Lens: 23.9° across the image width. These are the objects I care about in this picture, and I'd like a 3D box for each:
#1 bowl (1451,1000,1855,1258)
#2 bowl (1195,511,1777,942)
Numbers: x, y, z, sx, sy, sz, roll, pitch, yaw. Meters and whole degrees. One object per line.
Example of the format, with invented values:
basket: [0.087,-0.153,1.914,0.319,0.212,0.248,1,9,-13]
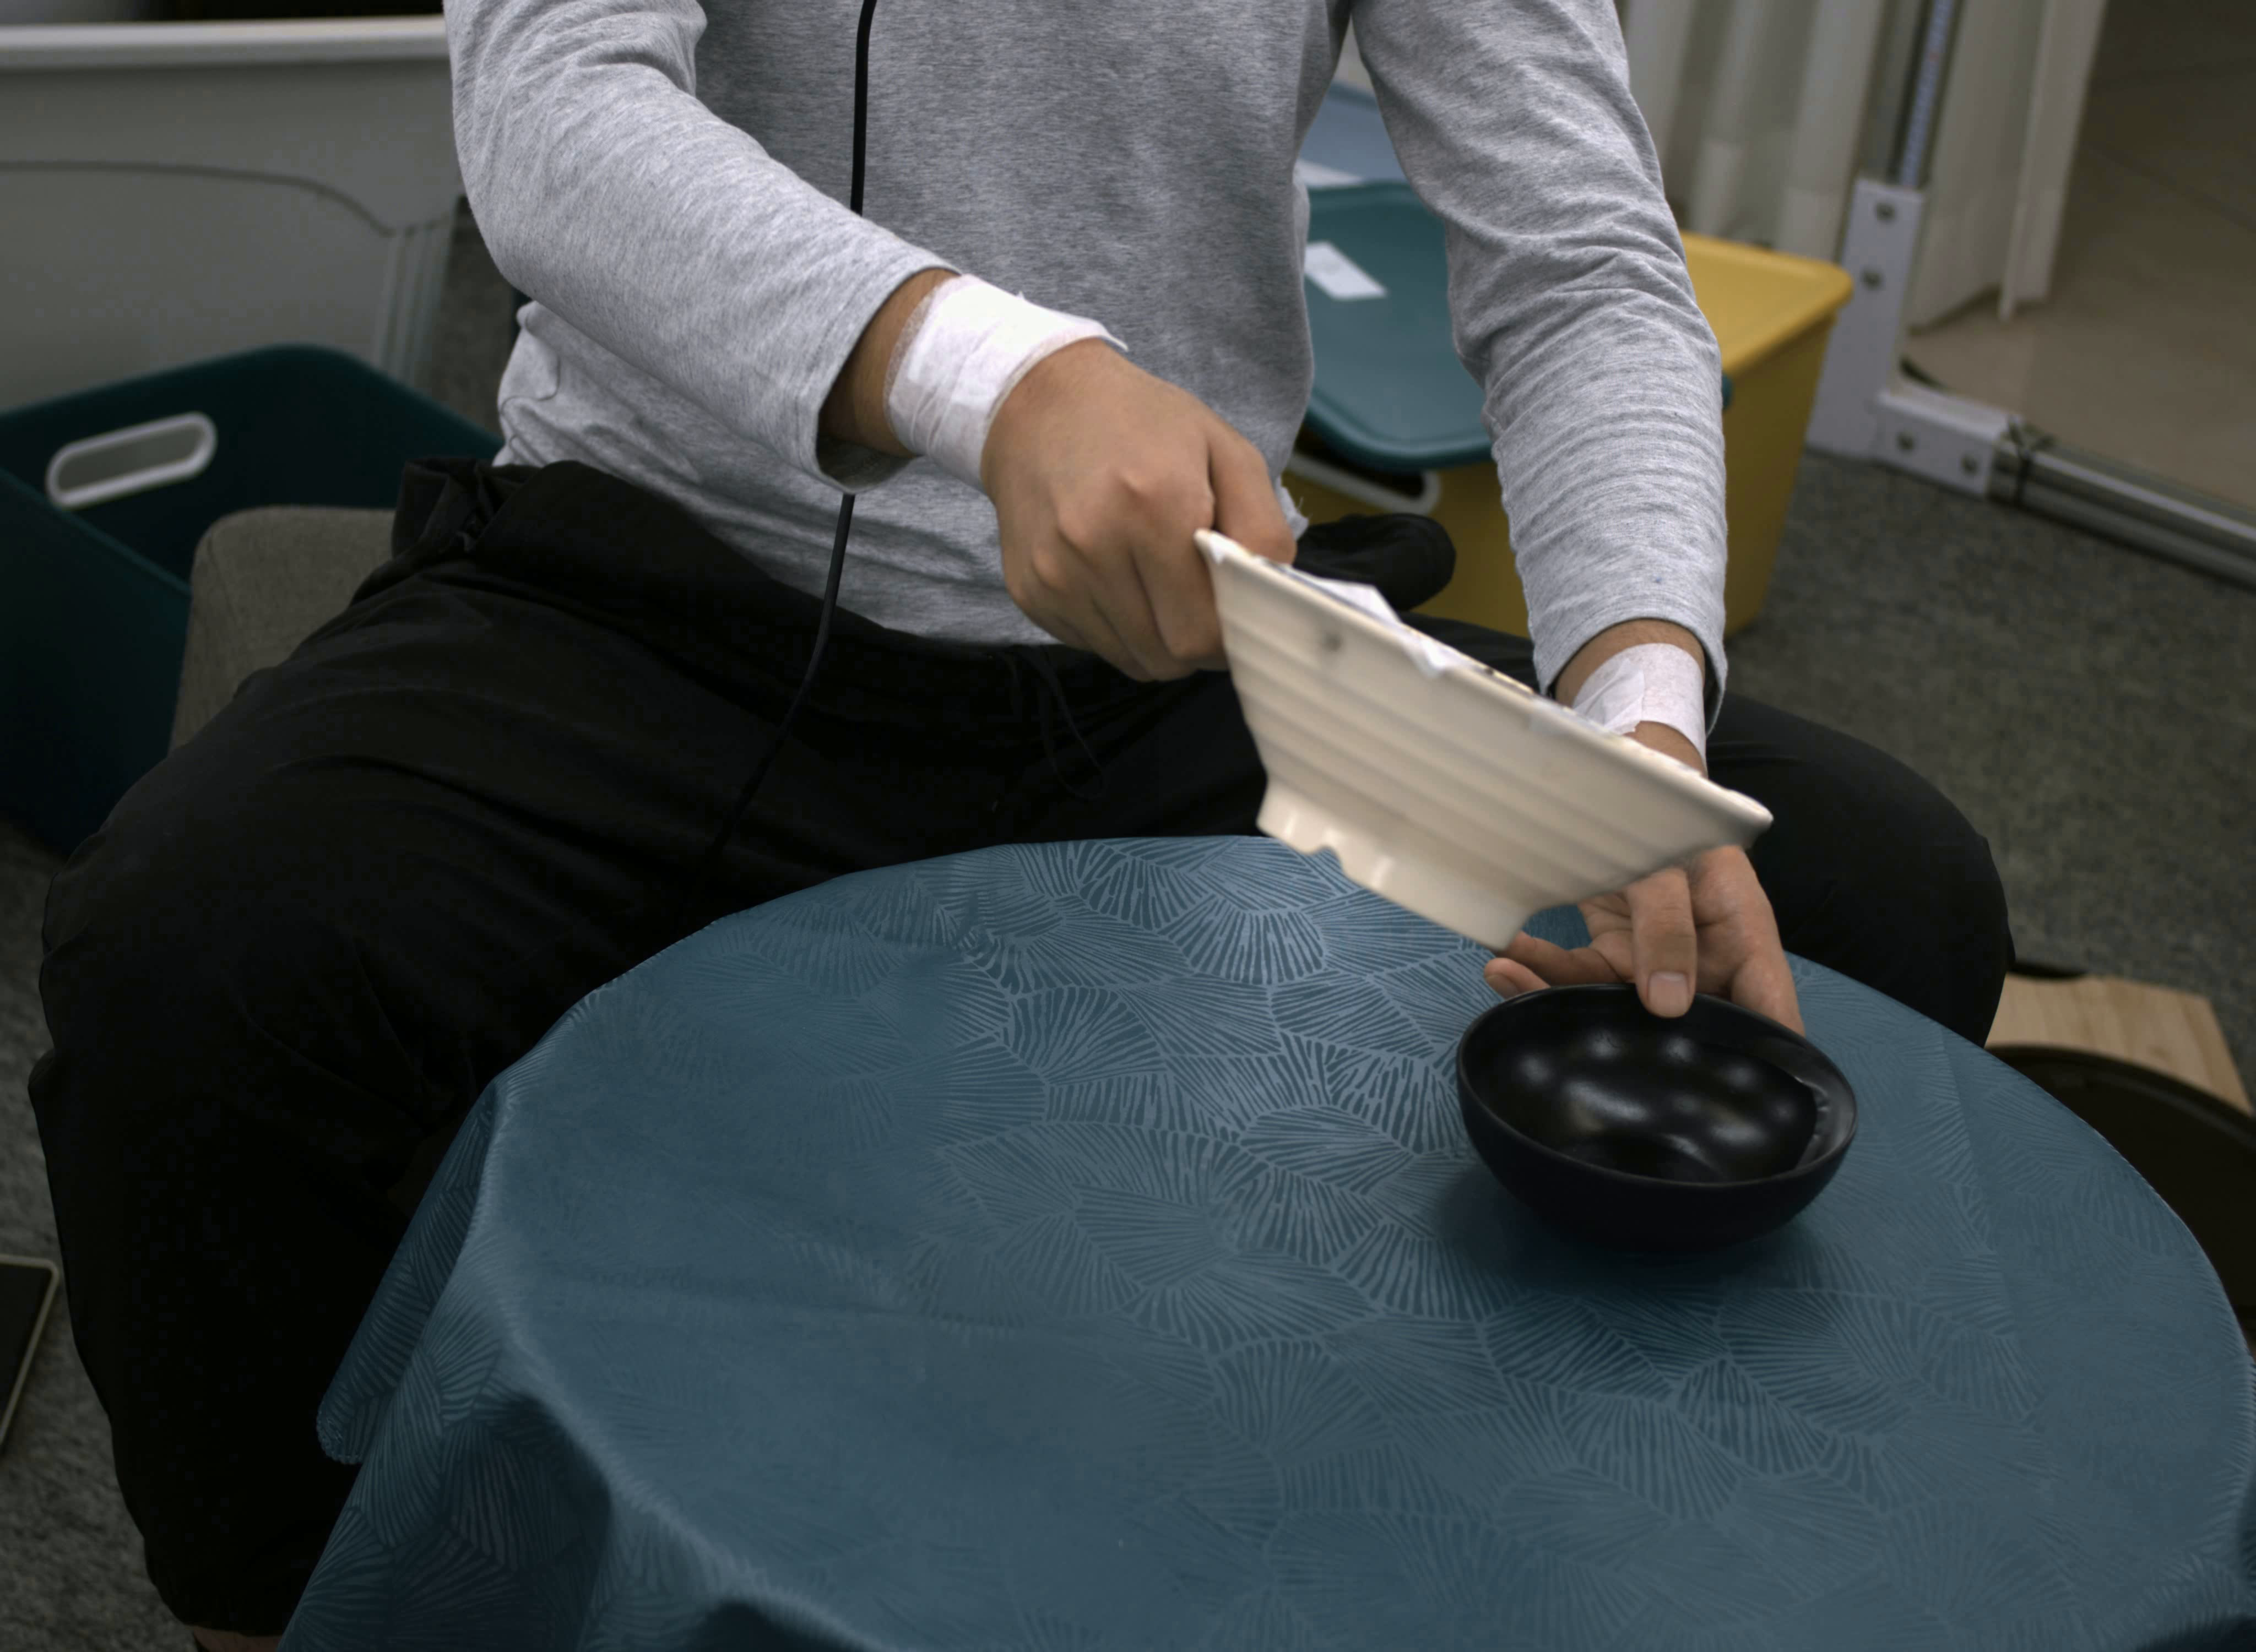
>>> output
bowl: [0.177,0.111,1.825,0.139,0.049,0.141,5,22,-2]
bowl: [0.095,-0.018,1.653,0.203,0.078,0.204,27,3,-2]
